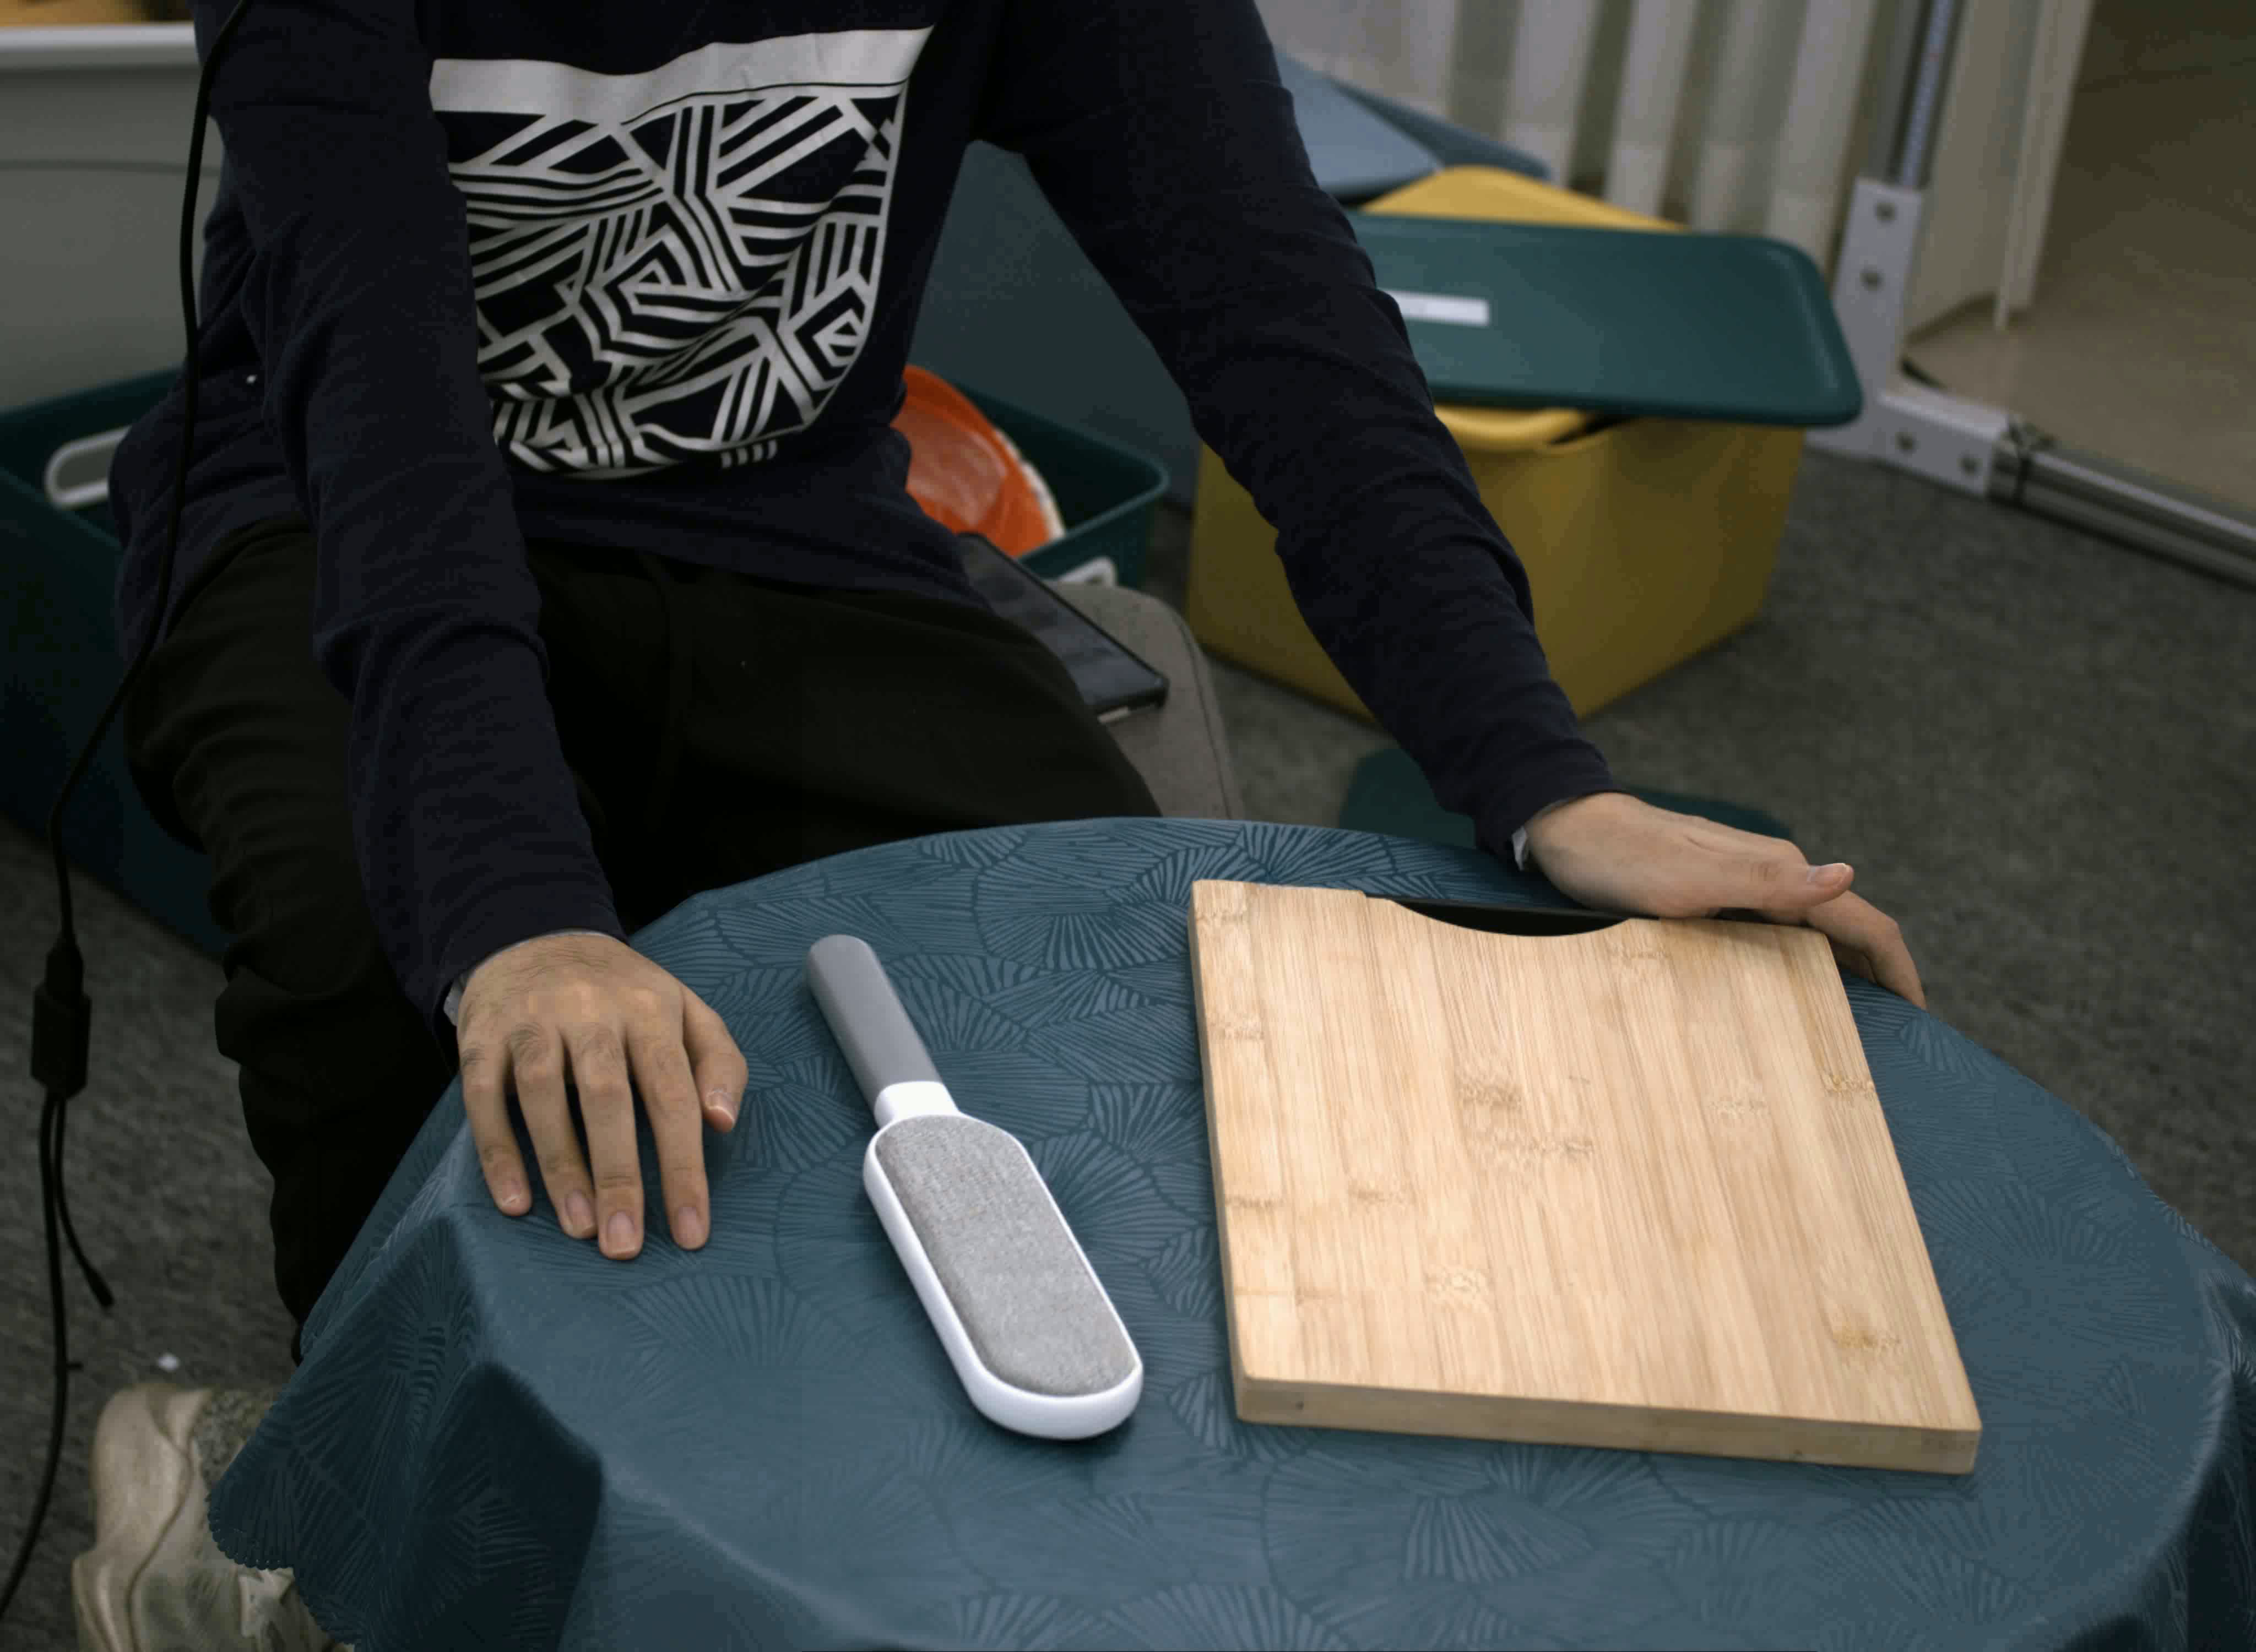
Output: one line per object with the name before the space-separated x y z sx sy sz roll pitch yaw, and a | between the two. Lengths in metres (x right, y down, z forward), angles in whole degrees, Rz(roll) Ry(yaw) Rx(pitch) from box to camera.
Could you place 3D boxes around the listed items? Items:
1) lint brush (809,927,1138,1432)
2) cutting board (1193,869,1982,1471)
lint brush | -0.060 0.113 1.784 0.060 0.021 0.311 -7 29 -15
cutting board | 0.148 0.112 1.845 0.250 0.023 0.351 5 27 -5
